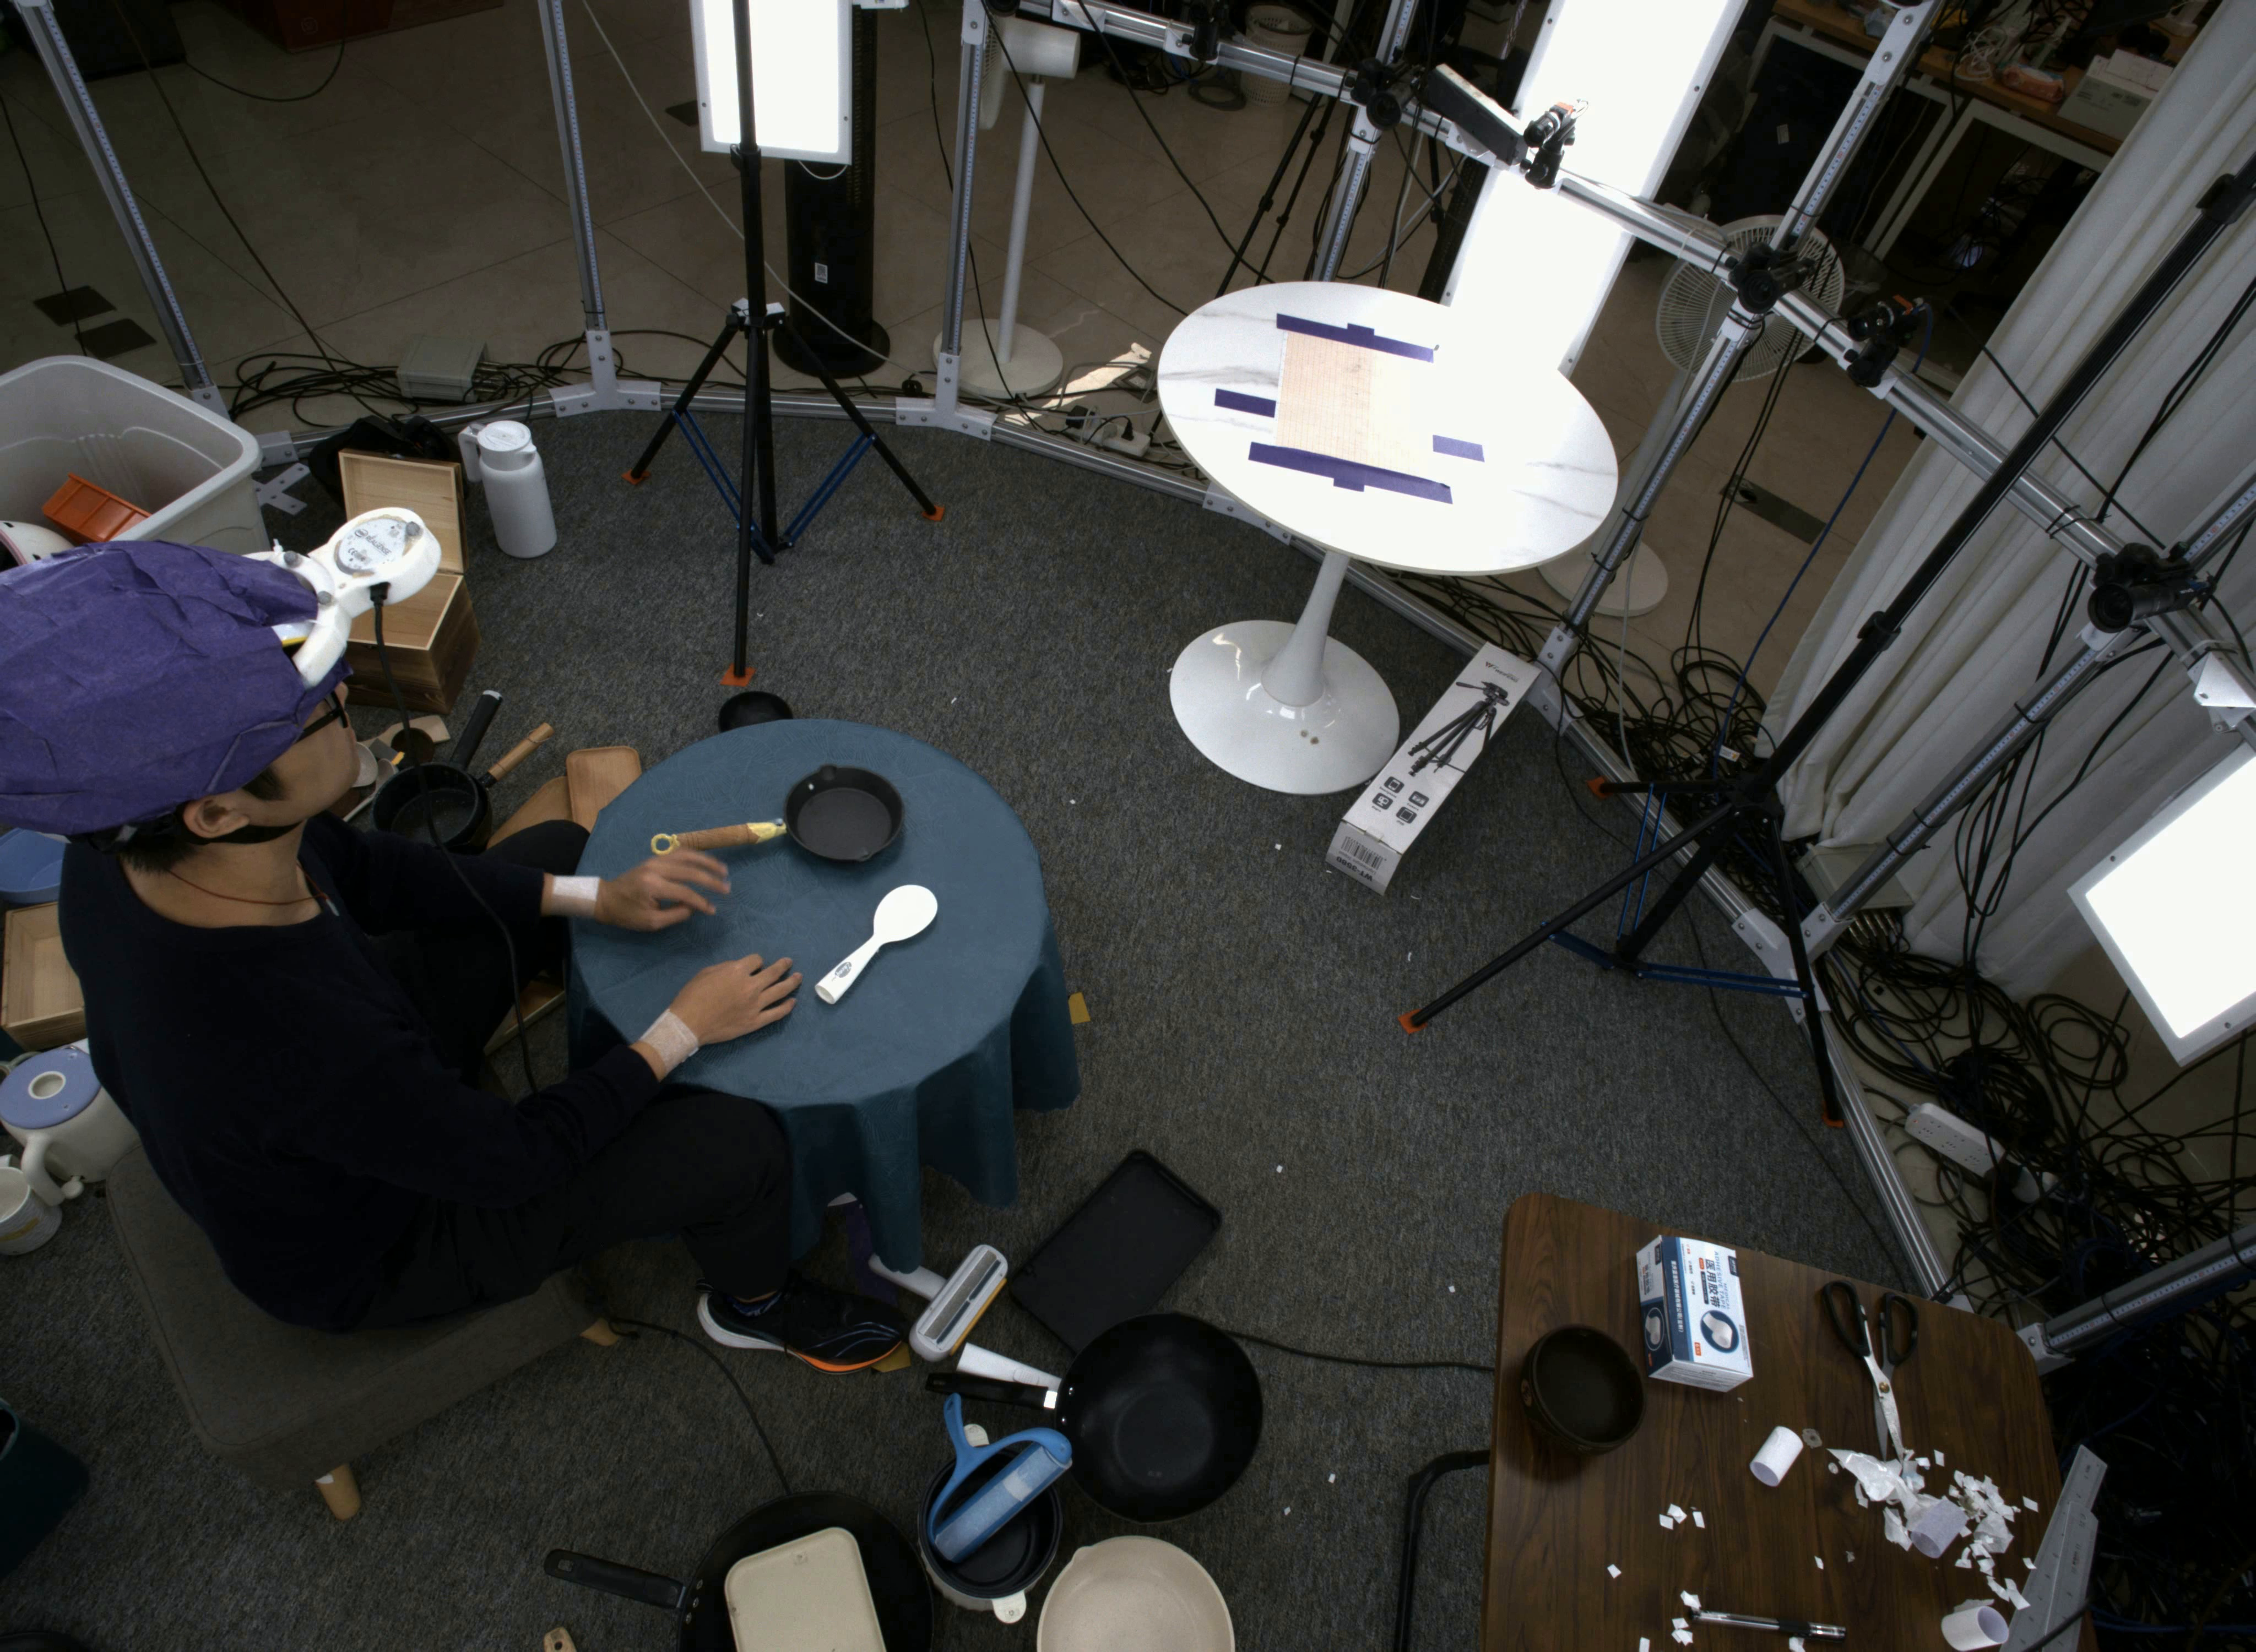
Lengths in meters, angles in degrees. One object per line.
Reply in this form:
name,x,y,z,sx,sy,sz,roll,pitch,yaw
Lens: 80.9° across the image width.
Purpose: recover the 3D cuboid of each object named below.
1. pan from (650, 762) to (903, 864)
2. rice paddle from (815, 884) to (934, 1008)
pan,-0.452,0.000,1.674,0.326,0.050,0.165,-12,58,-24
rice paddle,-0.314,0.141,1.619,0.068,0.030,0.204,33,53,8
